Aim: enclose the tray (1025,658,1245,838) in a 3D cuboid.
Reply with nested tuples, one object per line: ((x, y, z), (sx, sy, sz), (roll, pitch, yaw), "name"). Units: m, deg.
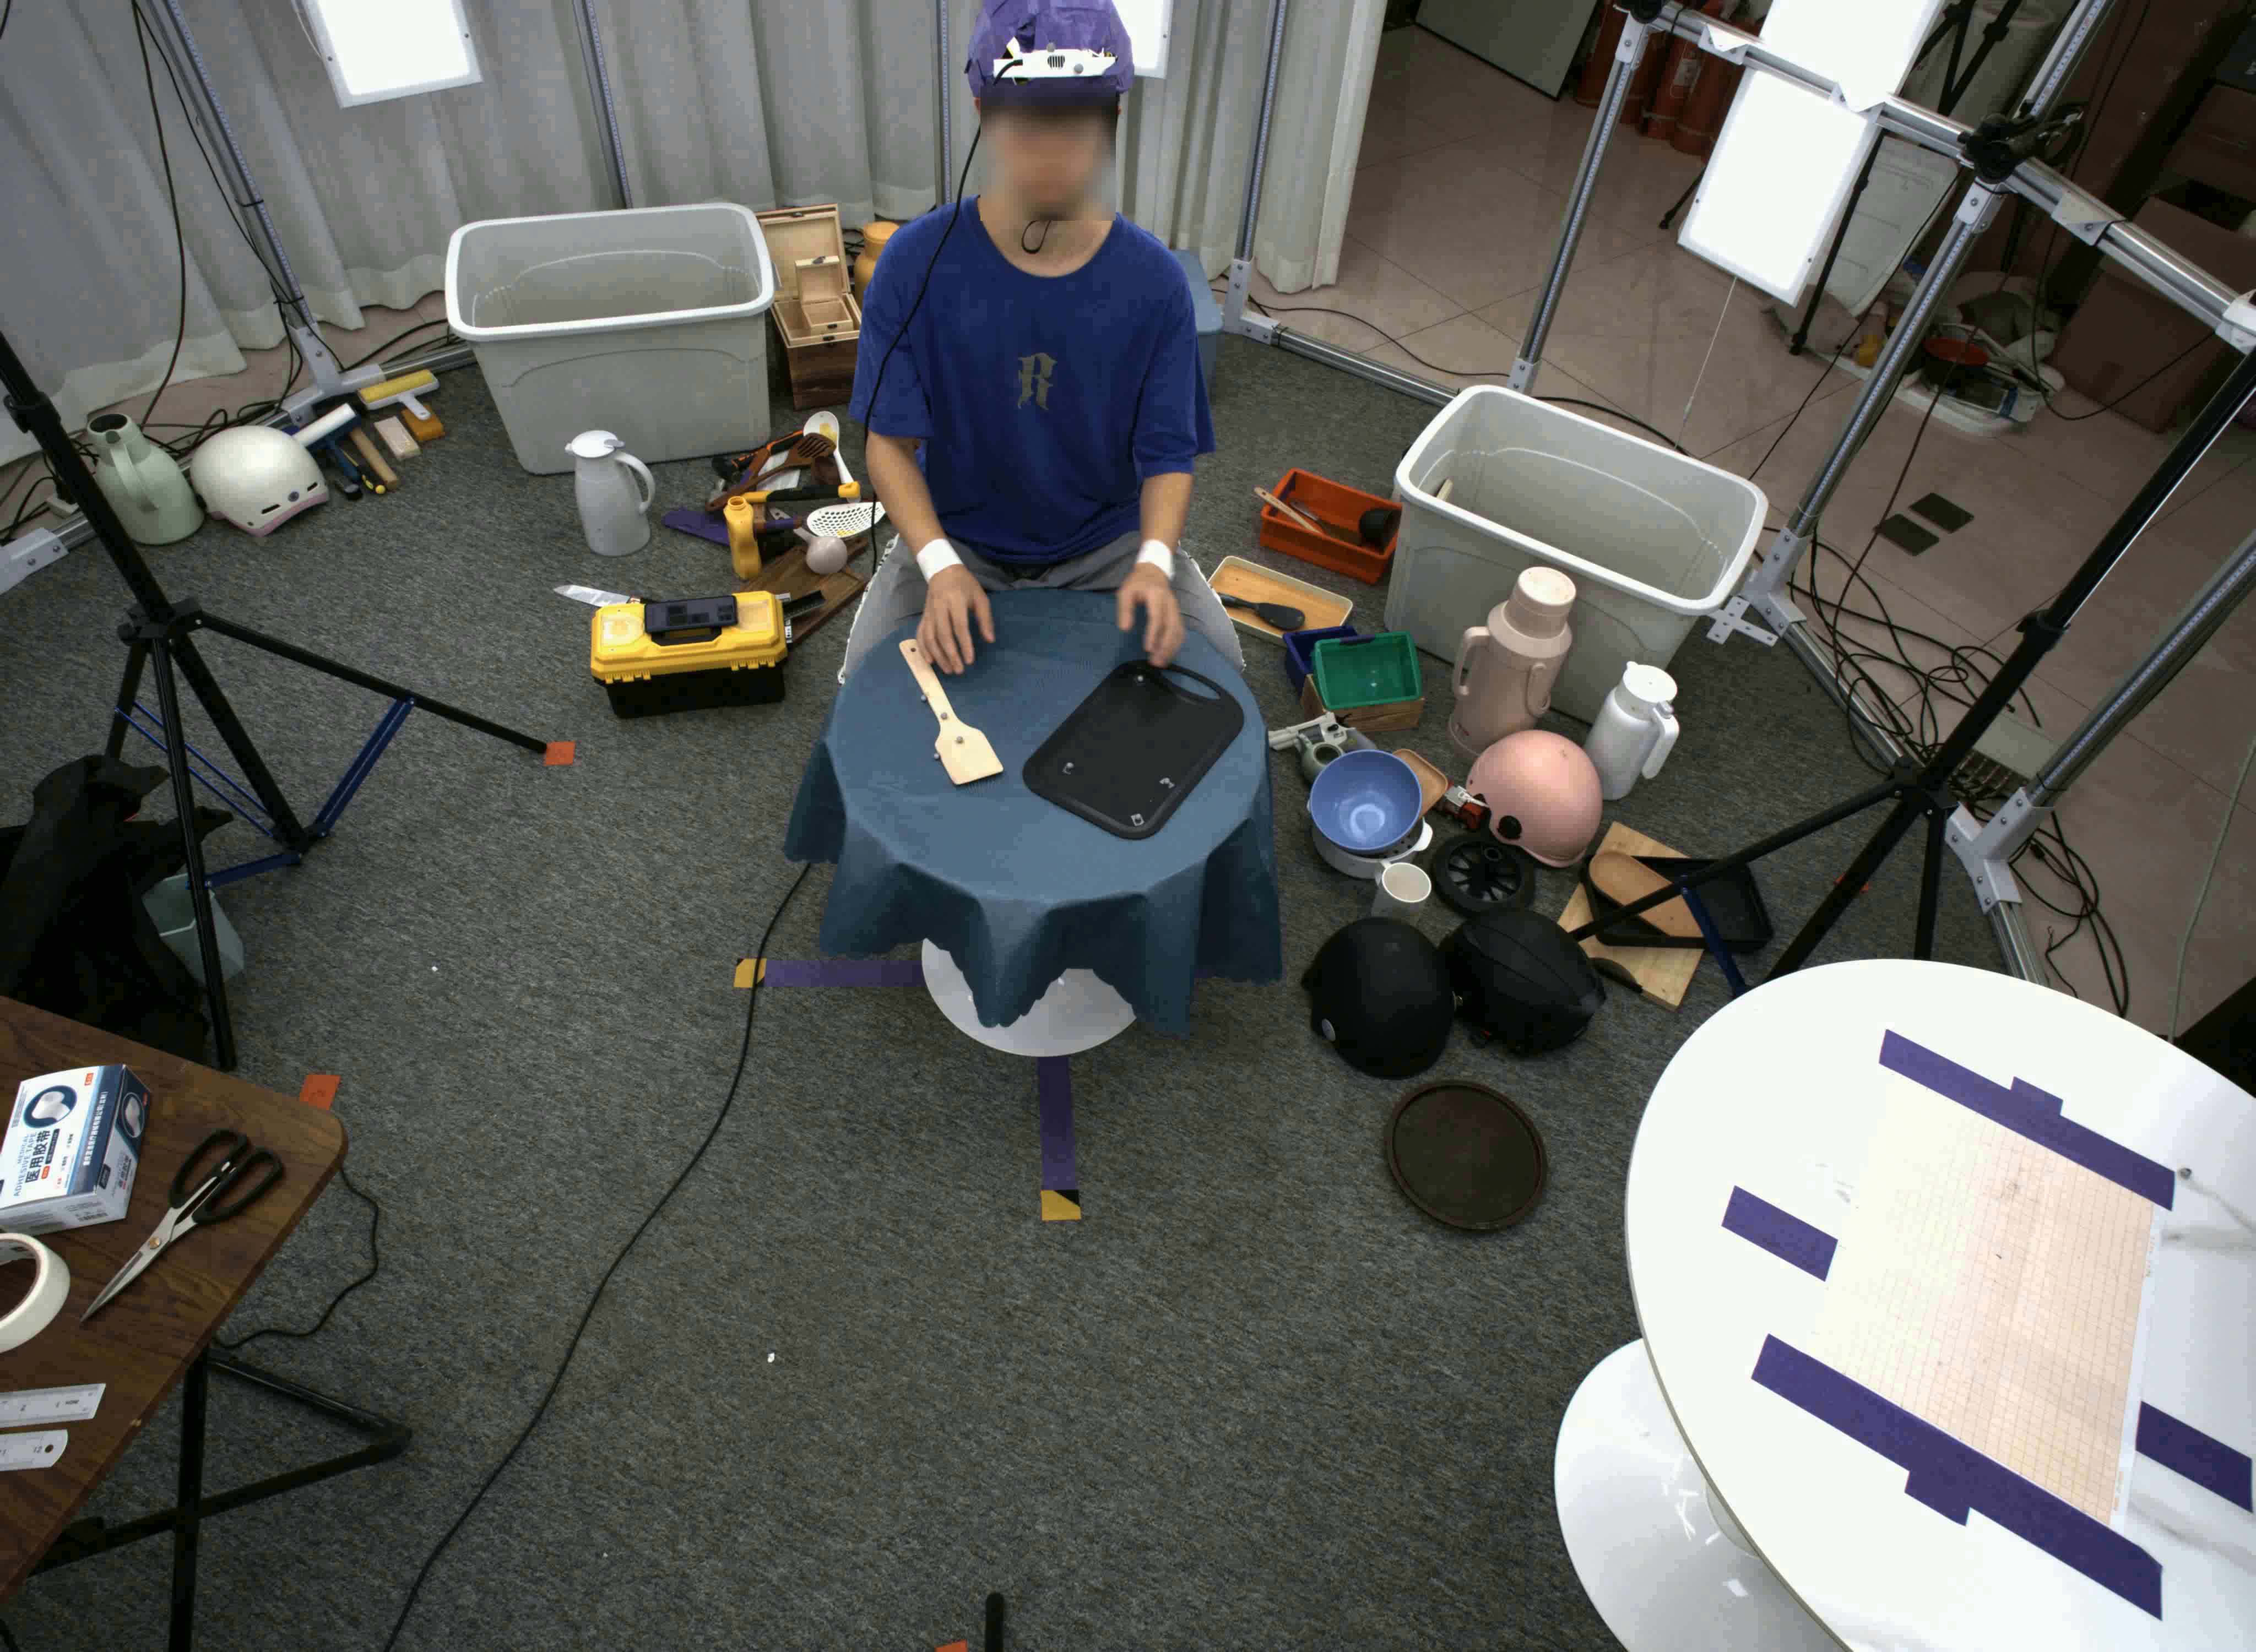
((0.017, -0.122, 1.775), (0.213, 0.009, 0.330), (28, 54, 19), "tray")

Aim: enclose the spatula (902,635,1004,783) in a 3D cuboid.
((-0.258, -0.170, 1.797), (0.072, 0.010, 0.299), (-19, 54, -17), "spatula")
